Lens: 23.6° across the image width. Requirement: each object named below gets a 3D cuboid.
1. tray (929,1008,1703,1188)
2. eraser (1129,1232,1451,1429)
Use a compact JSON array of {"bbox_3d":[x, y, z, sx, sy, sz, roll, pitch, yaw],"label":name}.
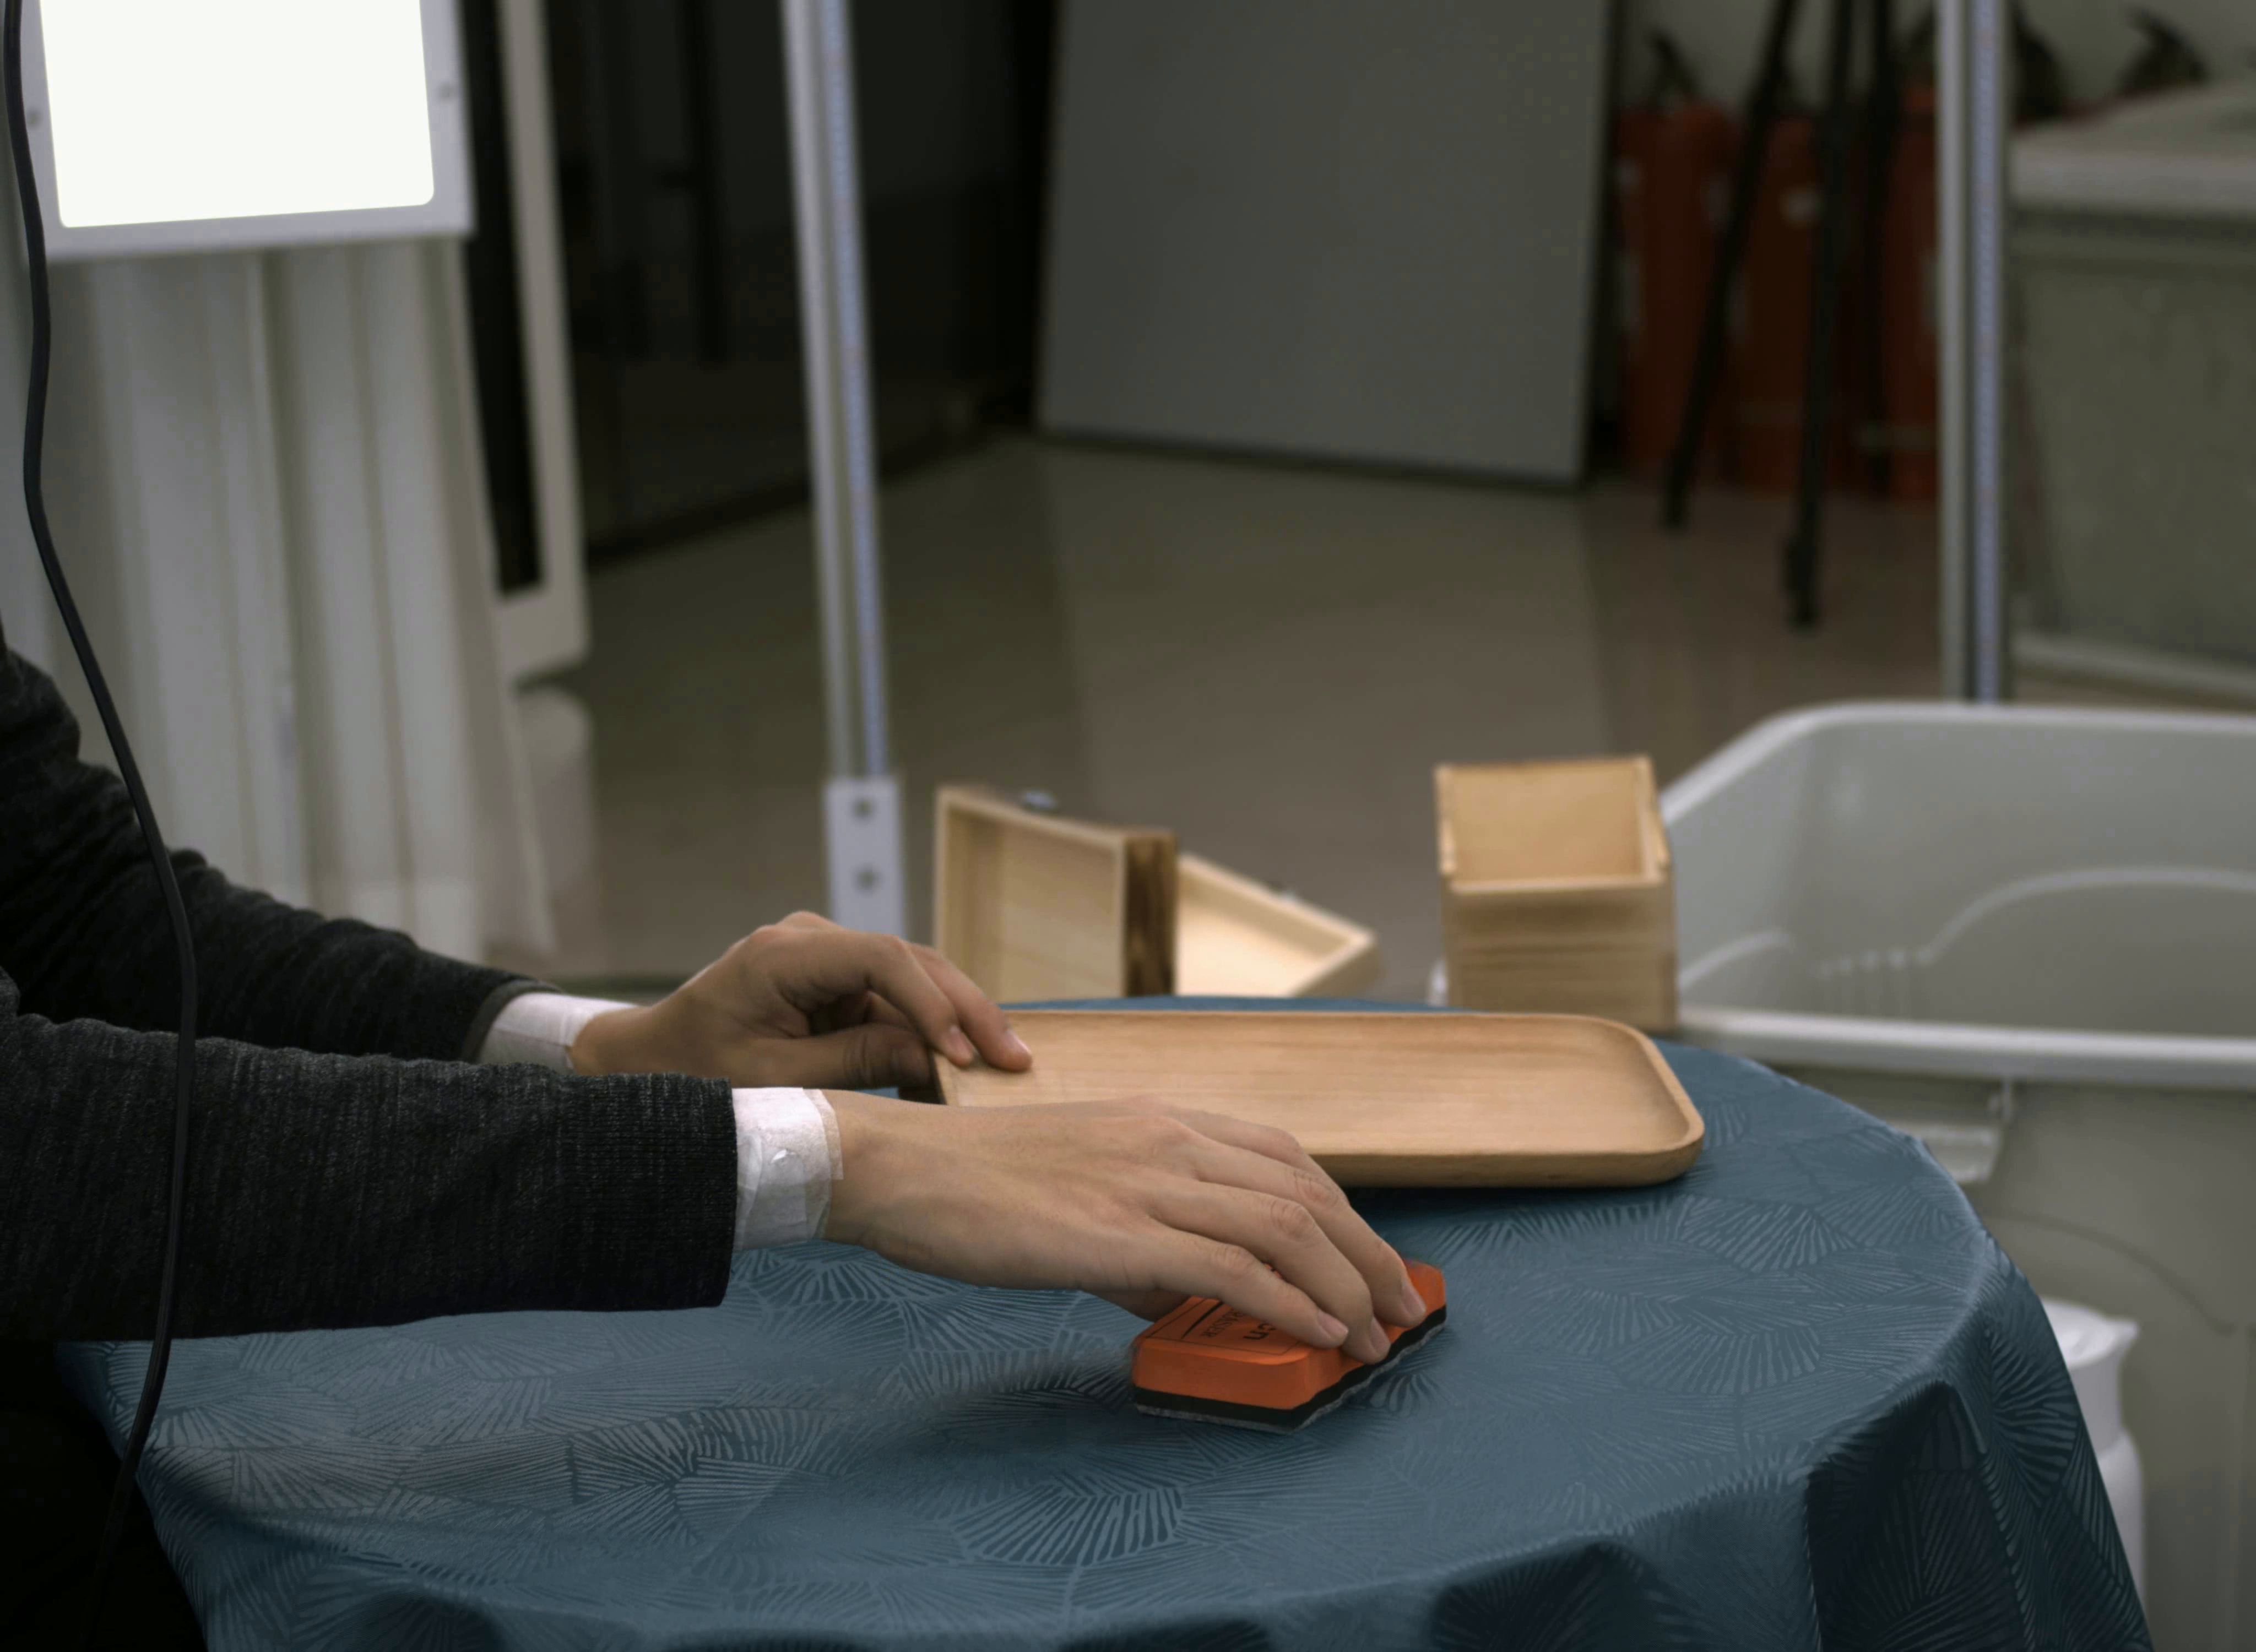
[{"bbox_3d":[0.060,0.090,1.775,0.246,0.023,0.131,0,16,-6],"label":"tray"},{"bbox_3d":[0.049,0.148,1.594,0.059,0.023,0.106,3,15,32],"label":"eraser"}]
